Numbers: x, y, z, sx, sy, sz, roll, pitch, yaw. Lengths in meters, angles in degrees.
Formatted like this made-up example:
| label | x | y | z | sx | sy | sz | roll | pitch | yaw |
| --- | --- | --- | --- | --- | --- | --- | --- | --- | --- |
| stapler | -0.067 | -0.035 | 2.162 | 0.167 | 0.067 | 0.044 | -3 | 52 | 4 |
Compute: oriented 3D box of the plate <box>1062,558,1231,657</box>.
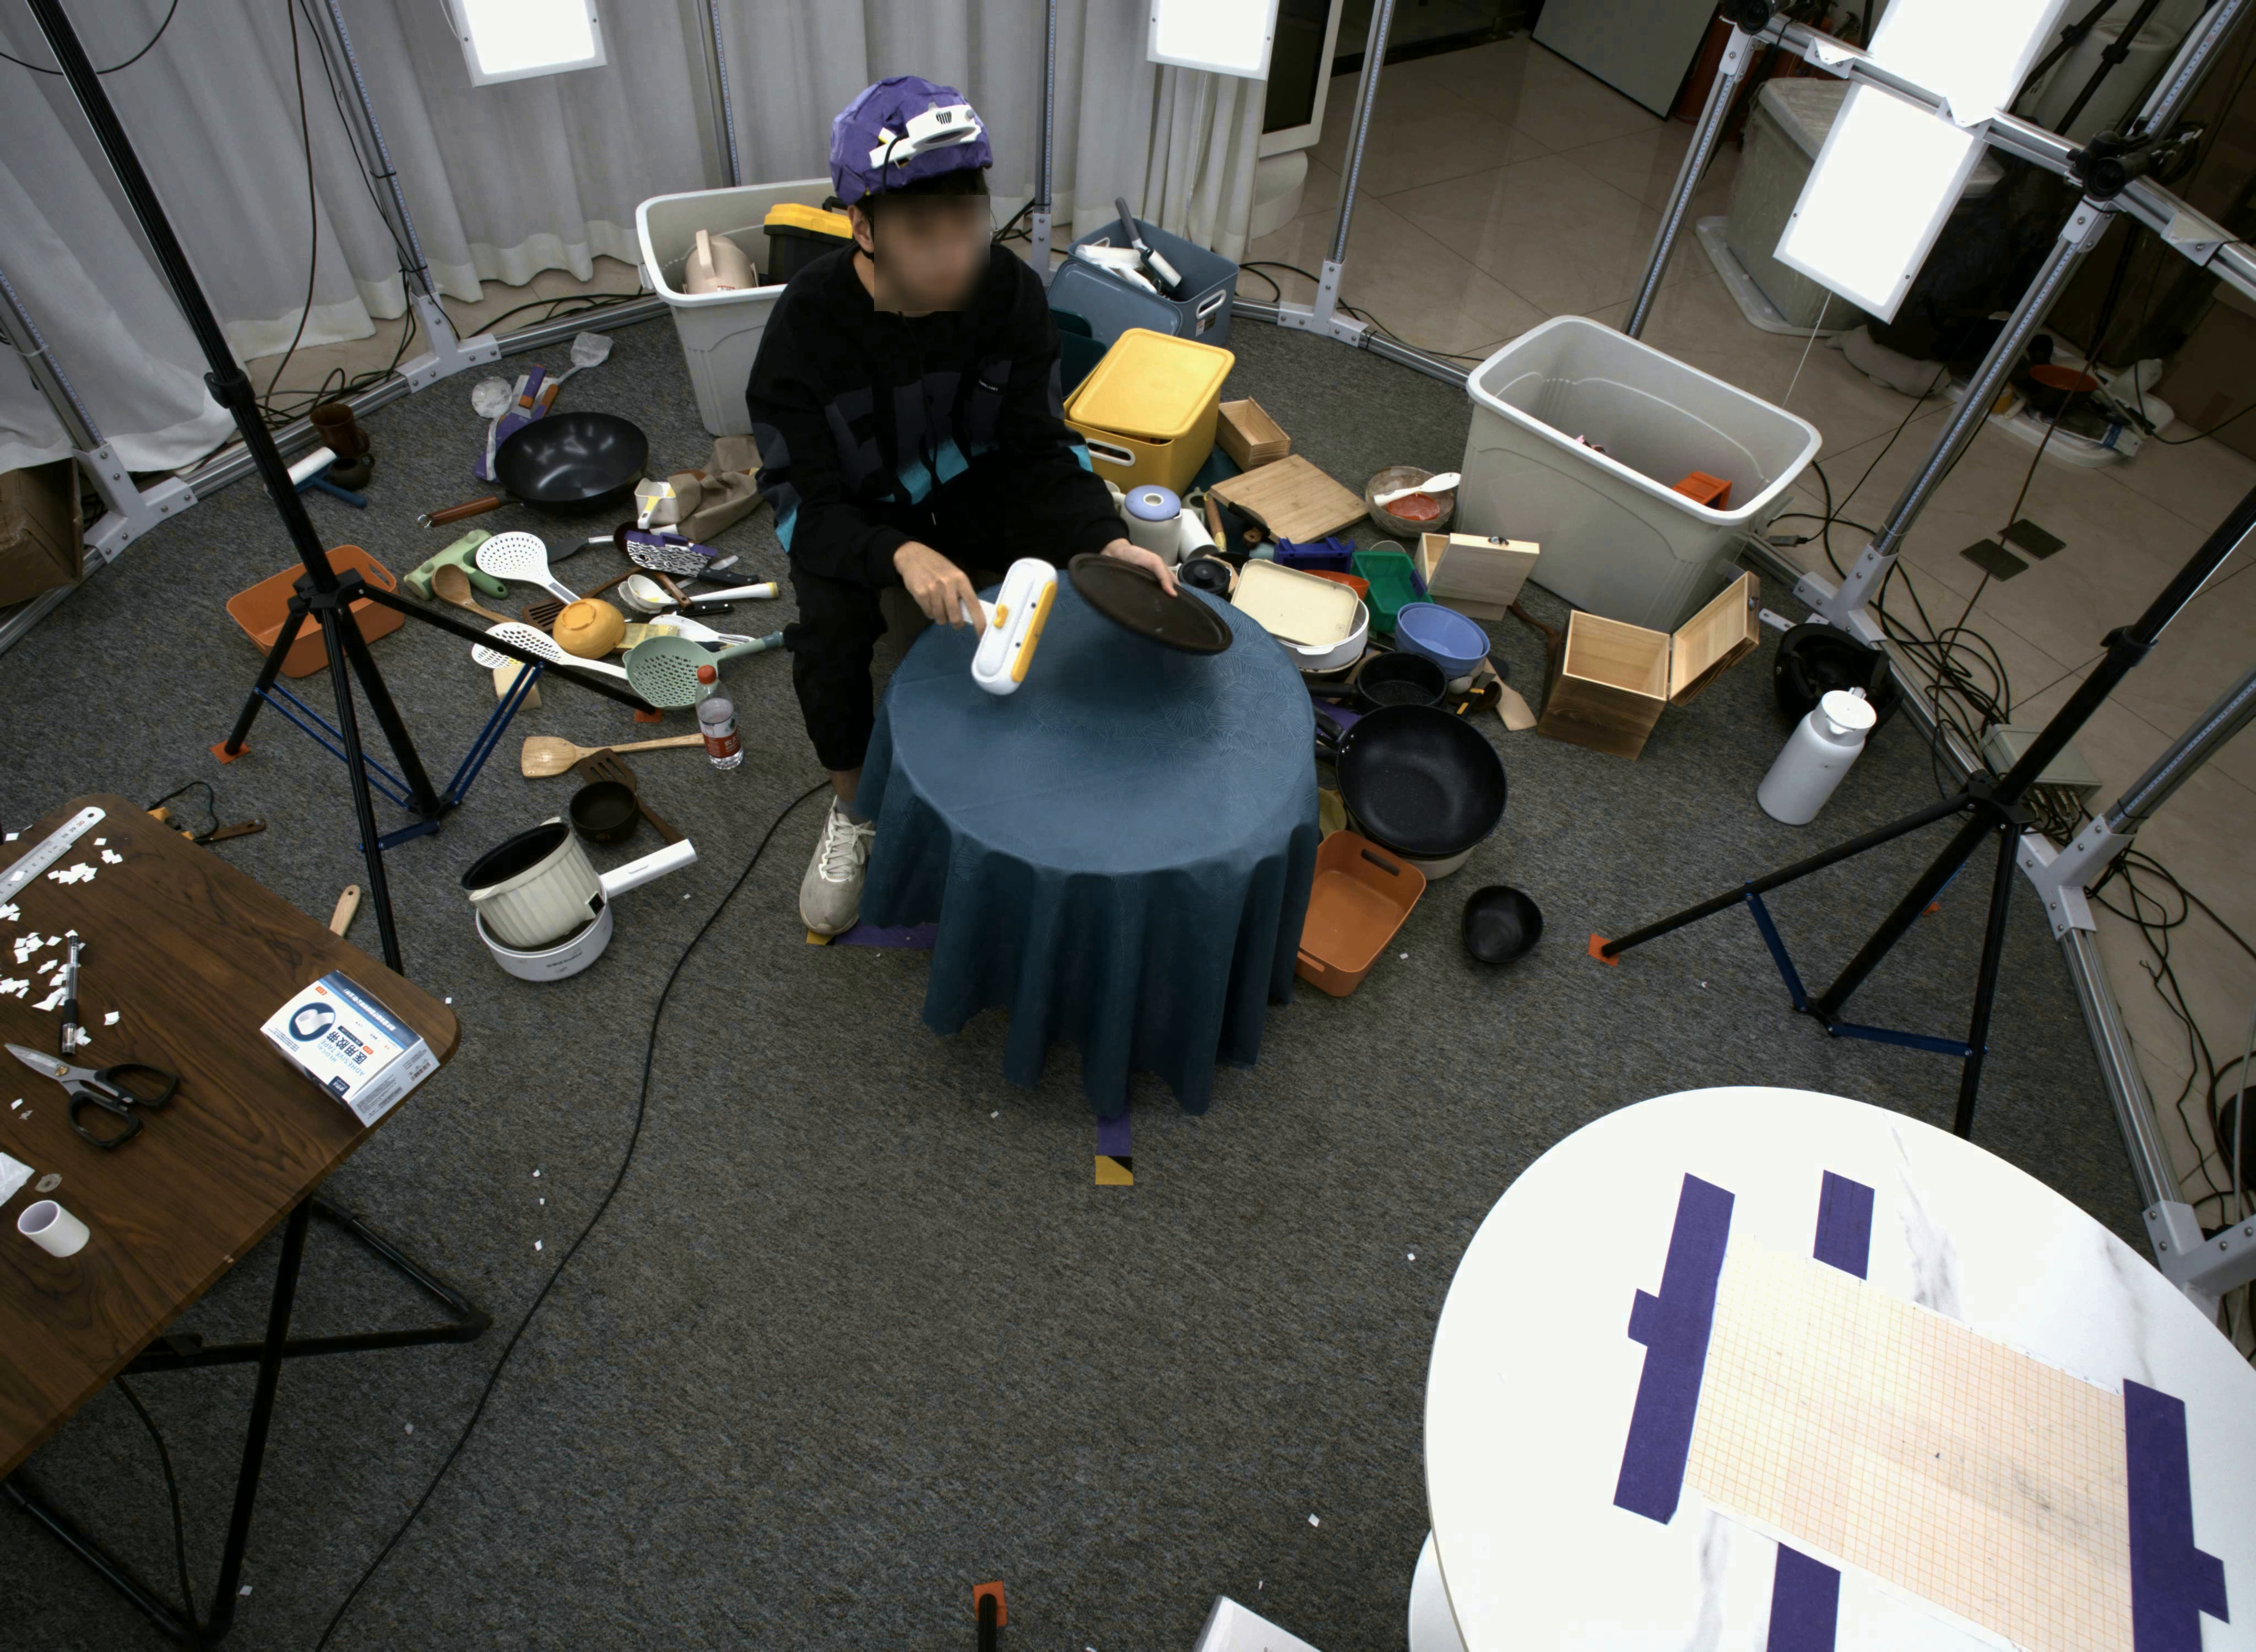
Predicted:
| label | x | y | z | sx | sy | sz | roll | pitch | yaw |
| --- | --- | --- | --- | --- | --- | --- | --- | --- | --- |
| plate | 0.025 | -0.306 | 1.795 | 0.253 | 0.028 | 0.260 | 20 | 27 | -11 |

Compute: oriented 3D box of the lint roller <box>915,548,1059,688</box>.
| label | x | y | z | sx | sy | sz | roll | pitch | yaw |
| --- | --- | --- | --- | --- | --- | --- | --- | --- | --- |
| lint roller | -0.202 | -0.300 | 1.779 | 0.194 | 0.192 | 0.073 | 16 | 2 | 27 |
